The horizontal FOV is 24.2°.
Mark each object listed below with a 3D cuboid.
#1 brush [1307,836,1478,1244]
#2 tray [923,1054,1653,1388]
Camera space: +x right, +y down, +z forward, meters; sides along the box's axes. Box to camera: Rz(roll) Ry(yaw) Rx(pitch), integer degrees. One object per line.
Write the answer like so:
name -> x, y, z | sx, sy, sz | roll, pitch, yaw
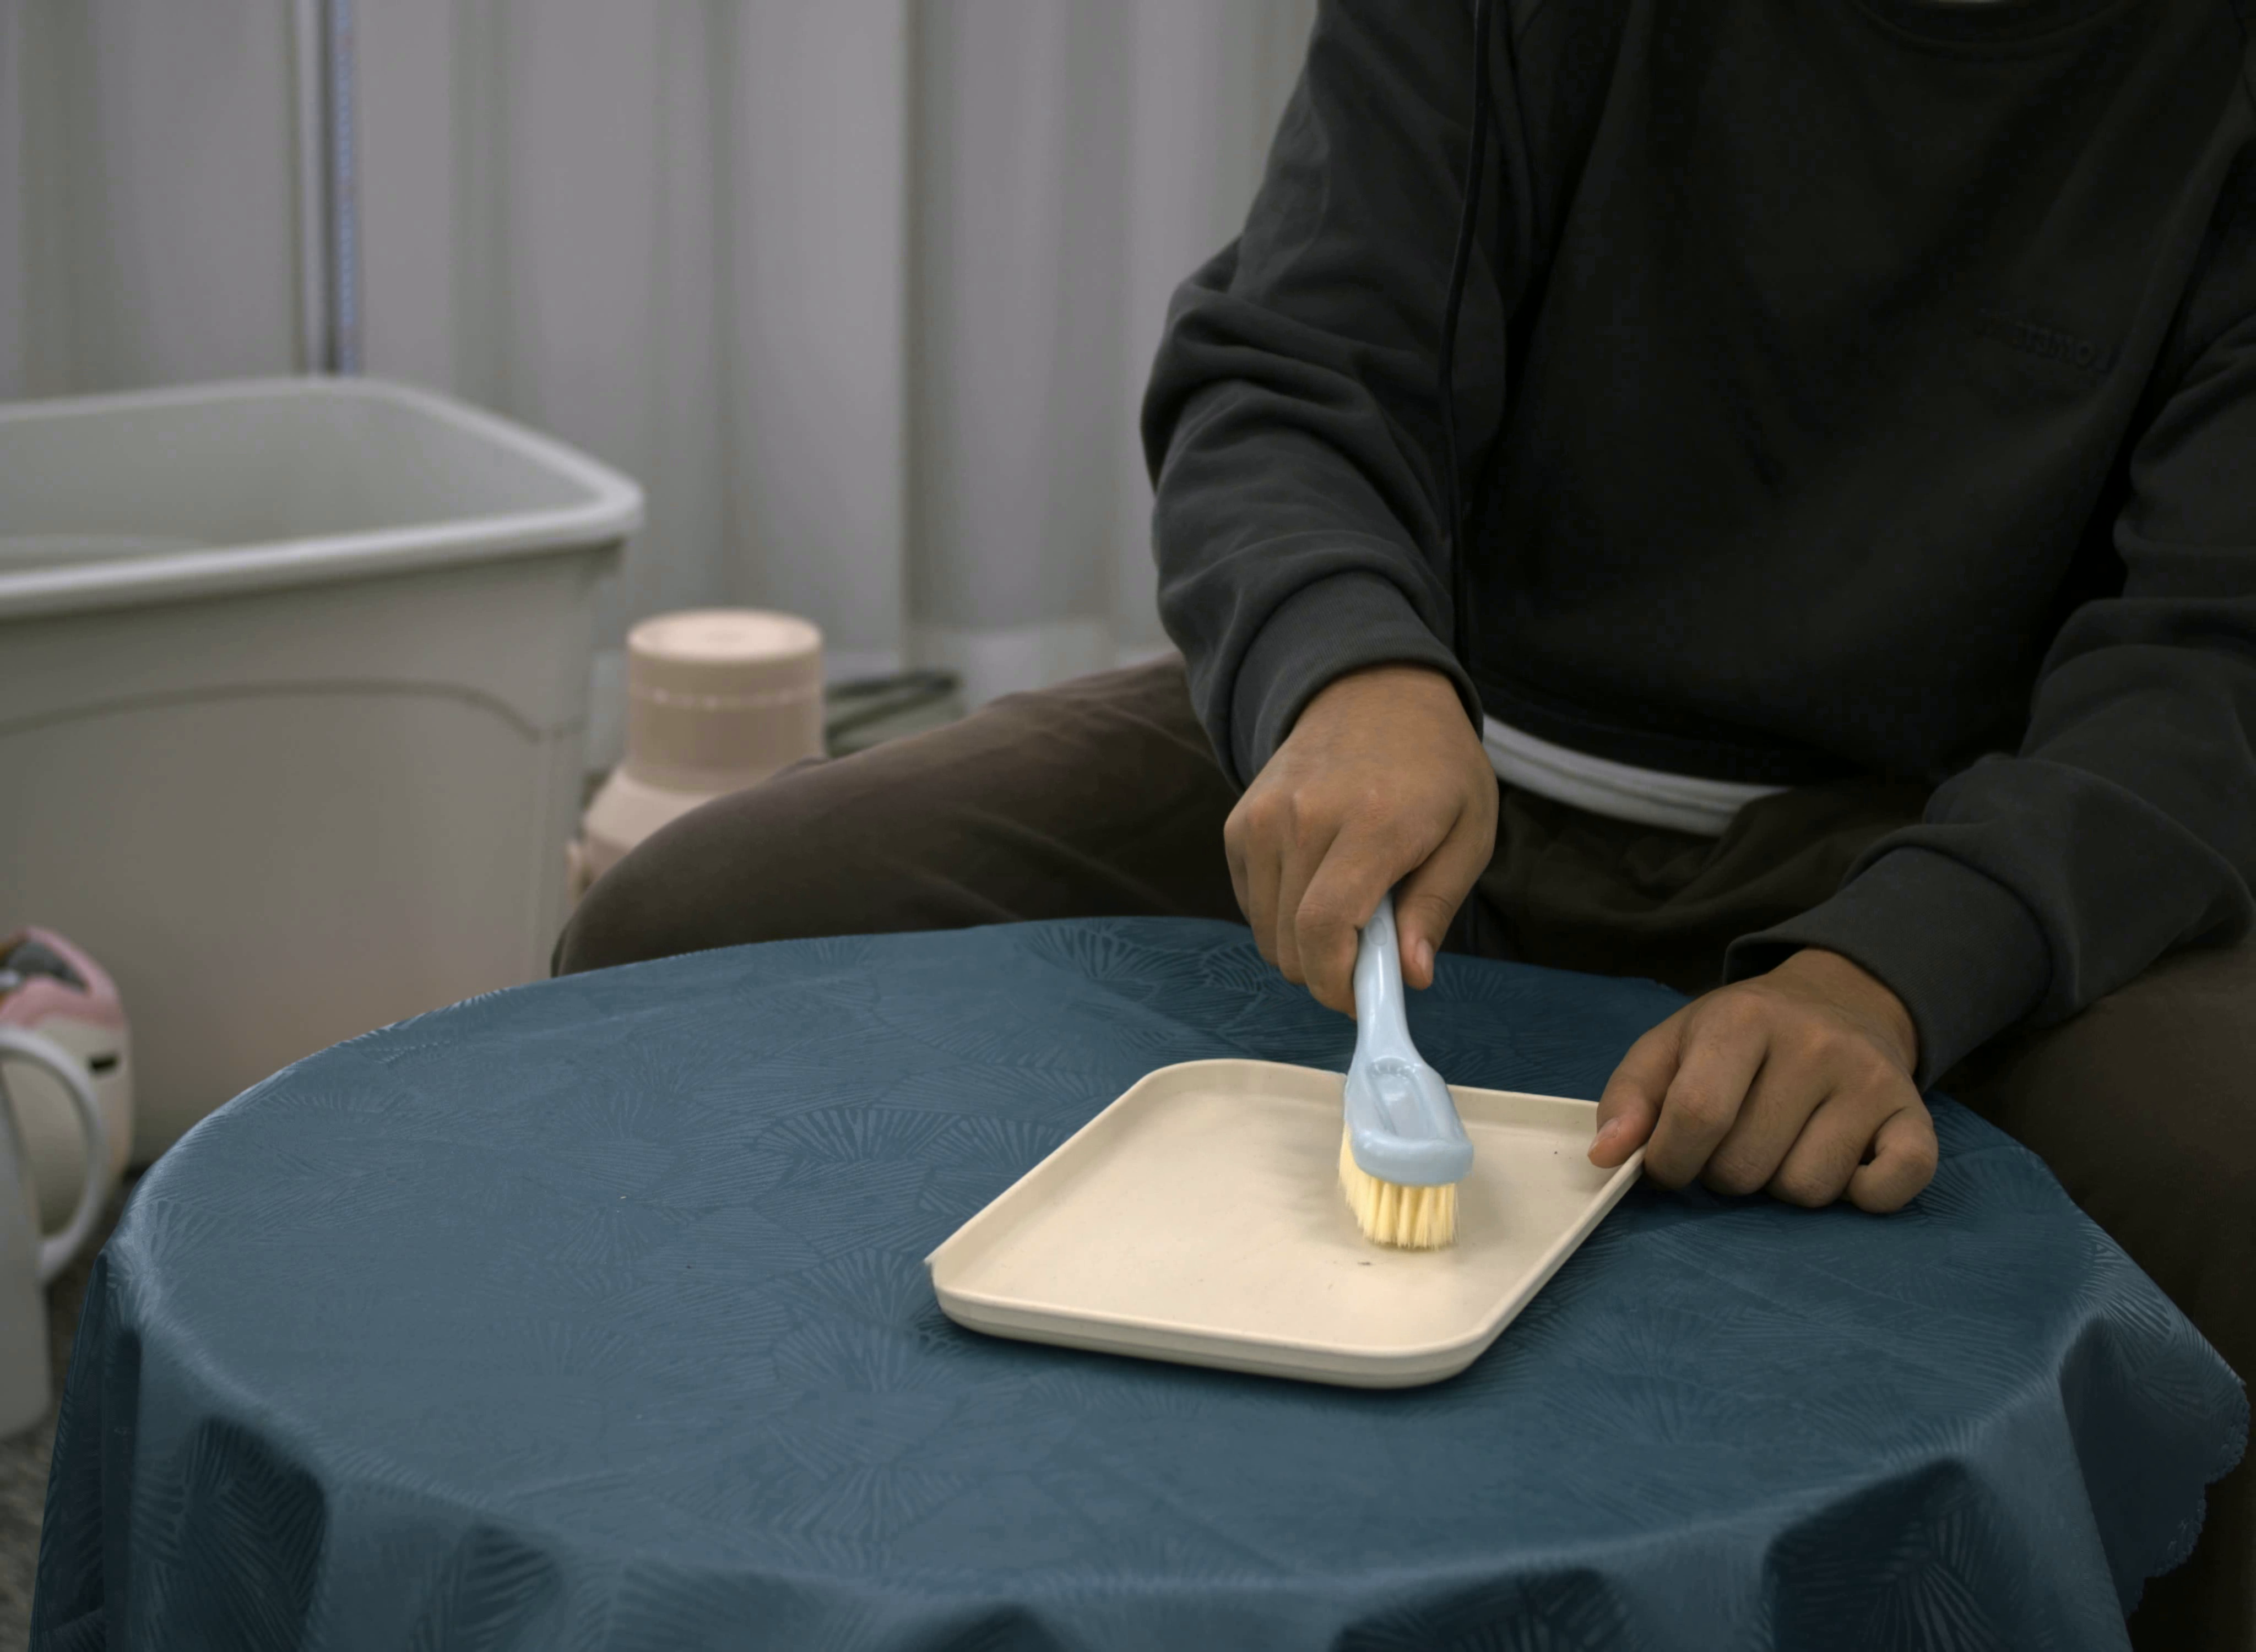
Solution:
brush -> 0.077, 0.065, 1.663 | 0.038, 0.050, 0.226 | 3, 28, -8
tray -> 0.052, 0.117, 1.579 | 0.169, 0.017, 0.240 | 7, 16, 19
